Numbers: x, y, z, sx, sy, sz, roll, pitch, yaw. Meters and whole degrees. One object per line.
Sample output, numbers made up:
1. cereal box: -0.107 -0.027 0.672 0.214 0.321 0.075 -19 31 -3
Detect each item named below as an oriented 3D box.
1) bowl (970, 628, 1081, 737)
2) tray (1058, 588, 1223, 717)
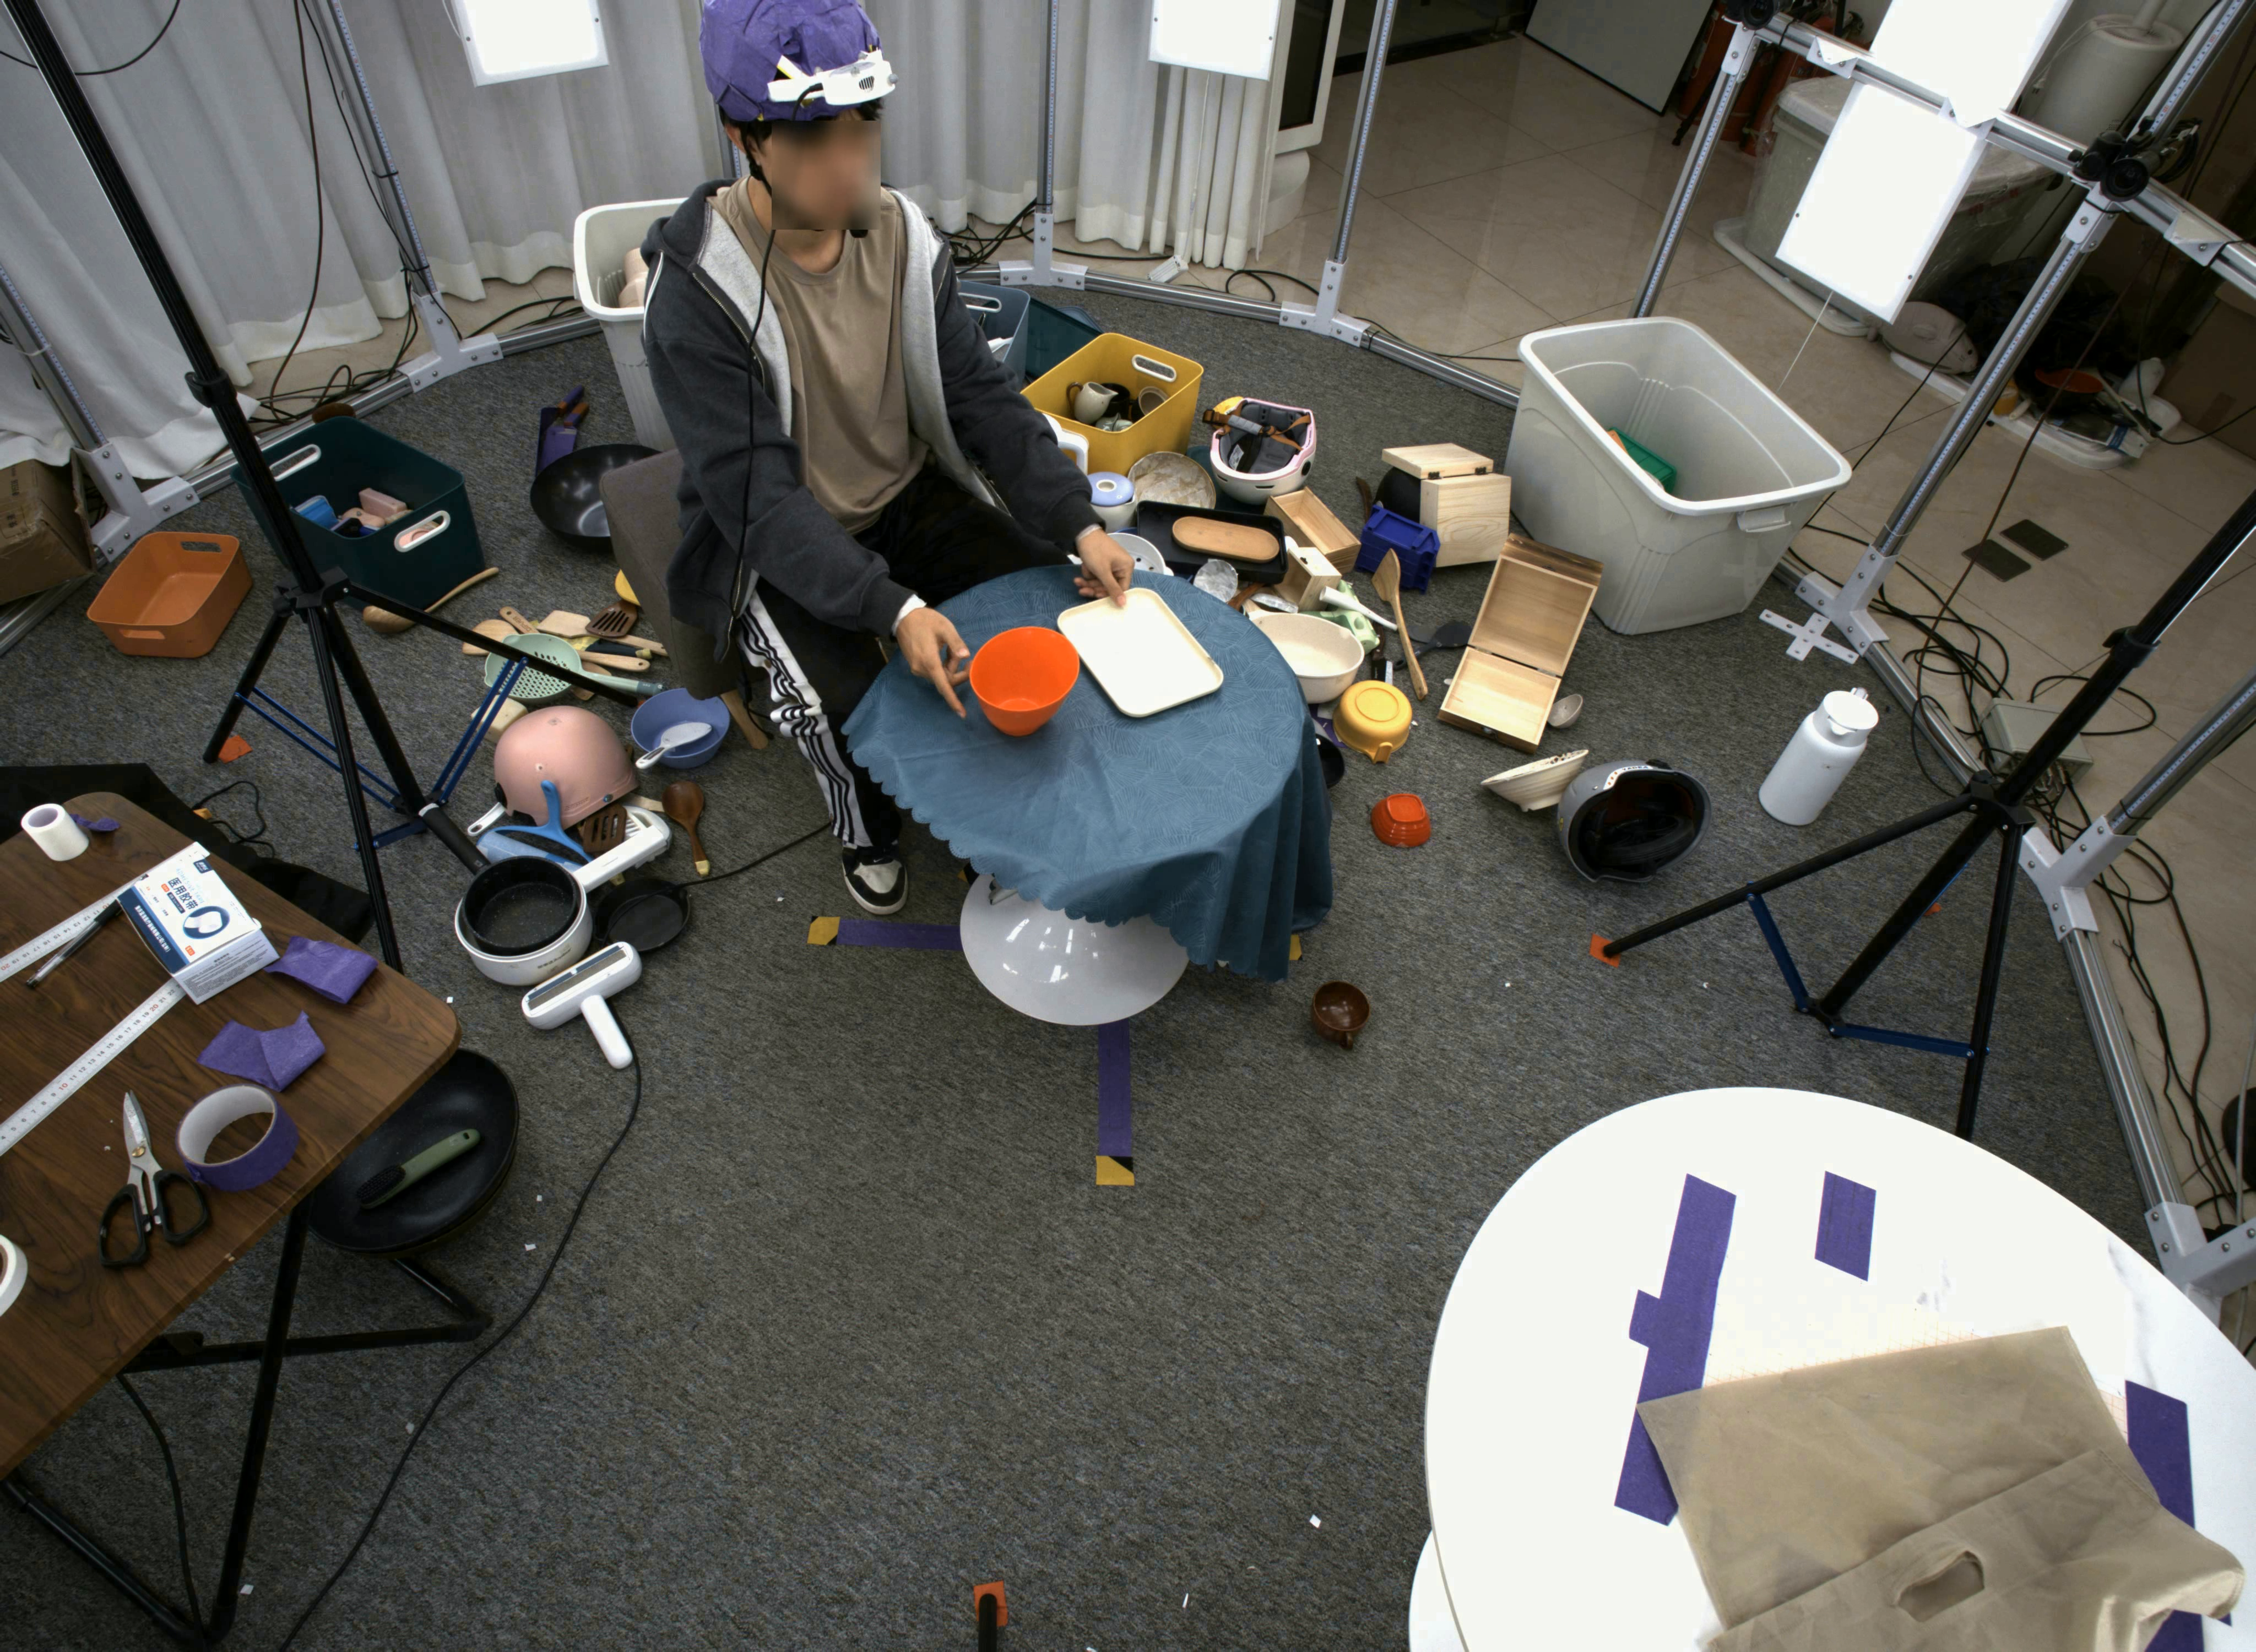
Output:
1. bowl: -0.140 -0.185 1.752 0.148 0.102 0.152 3 50 -4
2. tray: 0.016 -0.255 1.878 0.172 0.017 0.245 -21 54 -20
